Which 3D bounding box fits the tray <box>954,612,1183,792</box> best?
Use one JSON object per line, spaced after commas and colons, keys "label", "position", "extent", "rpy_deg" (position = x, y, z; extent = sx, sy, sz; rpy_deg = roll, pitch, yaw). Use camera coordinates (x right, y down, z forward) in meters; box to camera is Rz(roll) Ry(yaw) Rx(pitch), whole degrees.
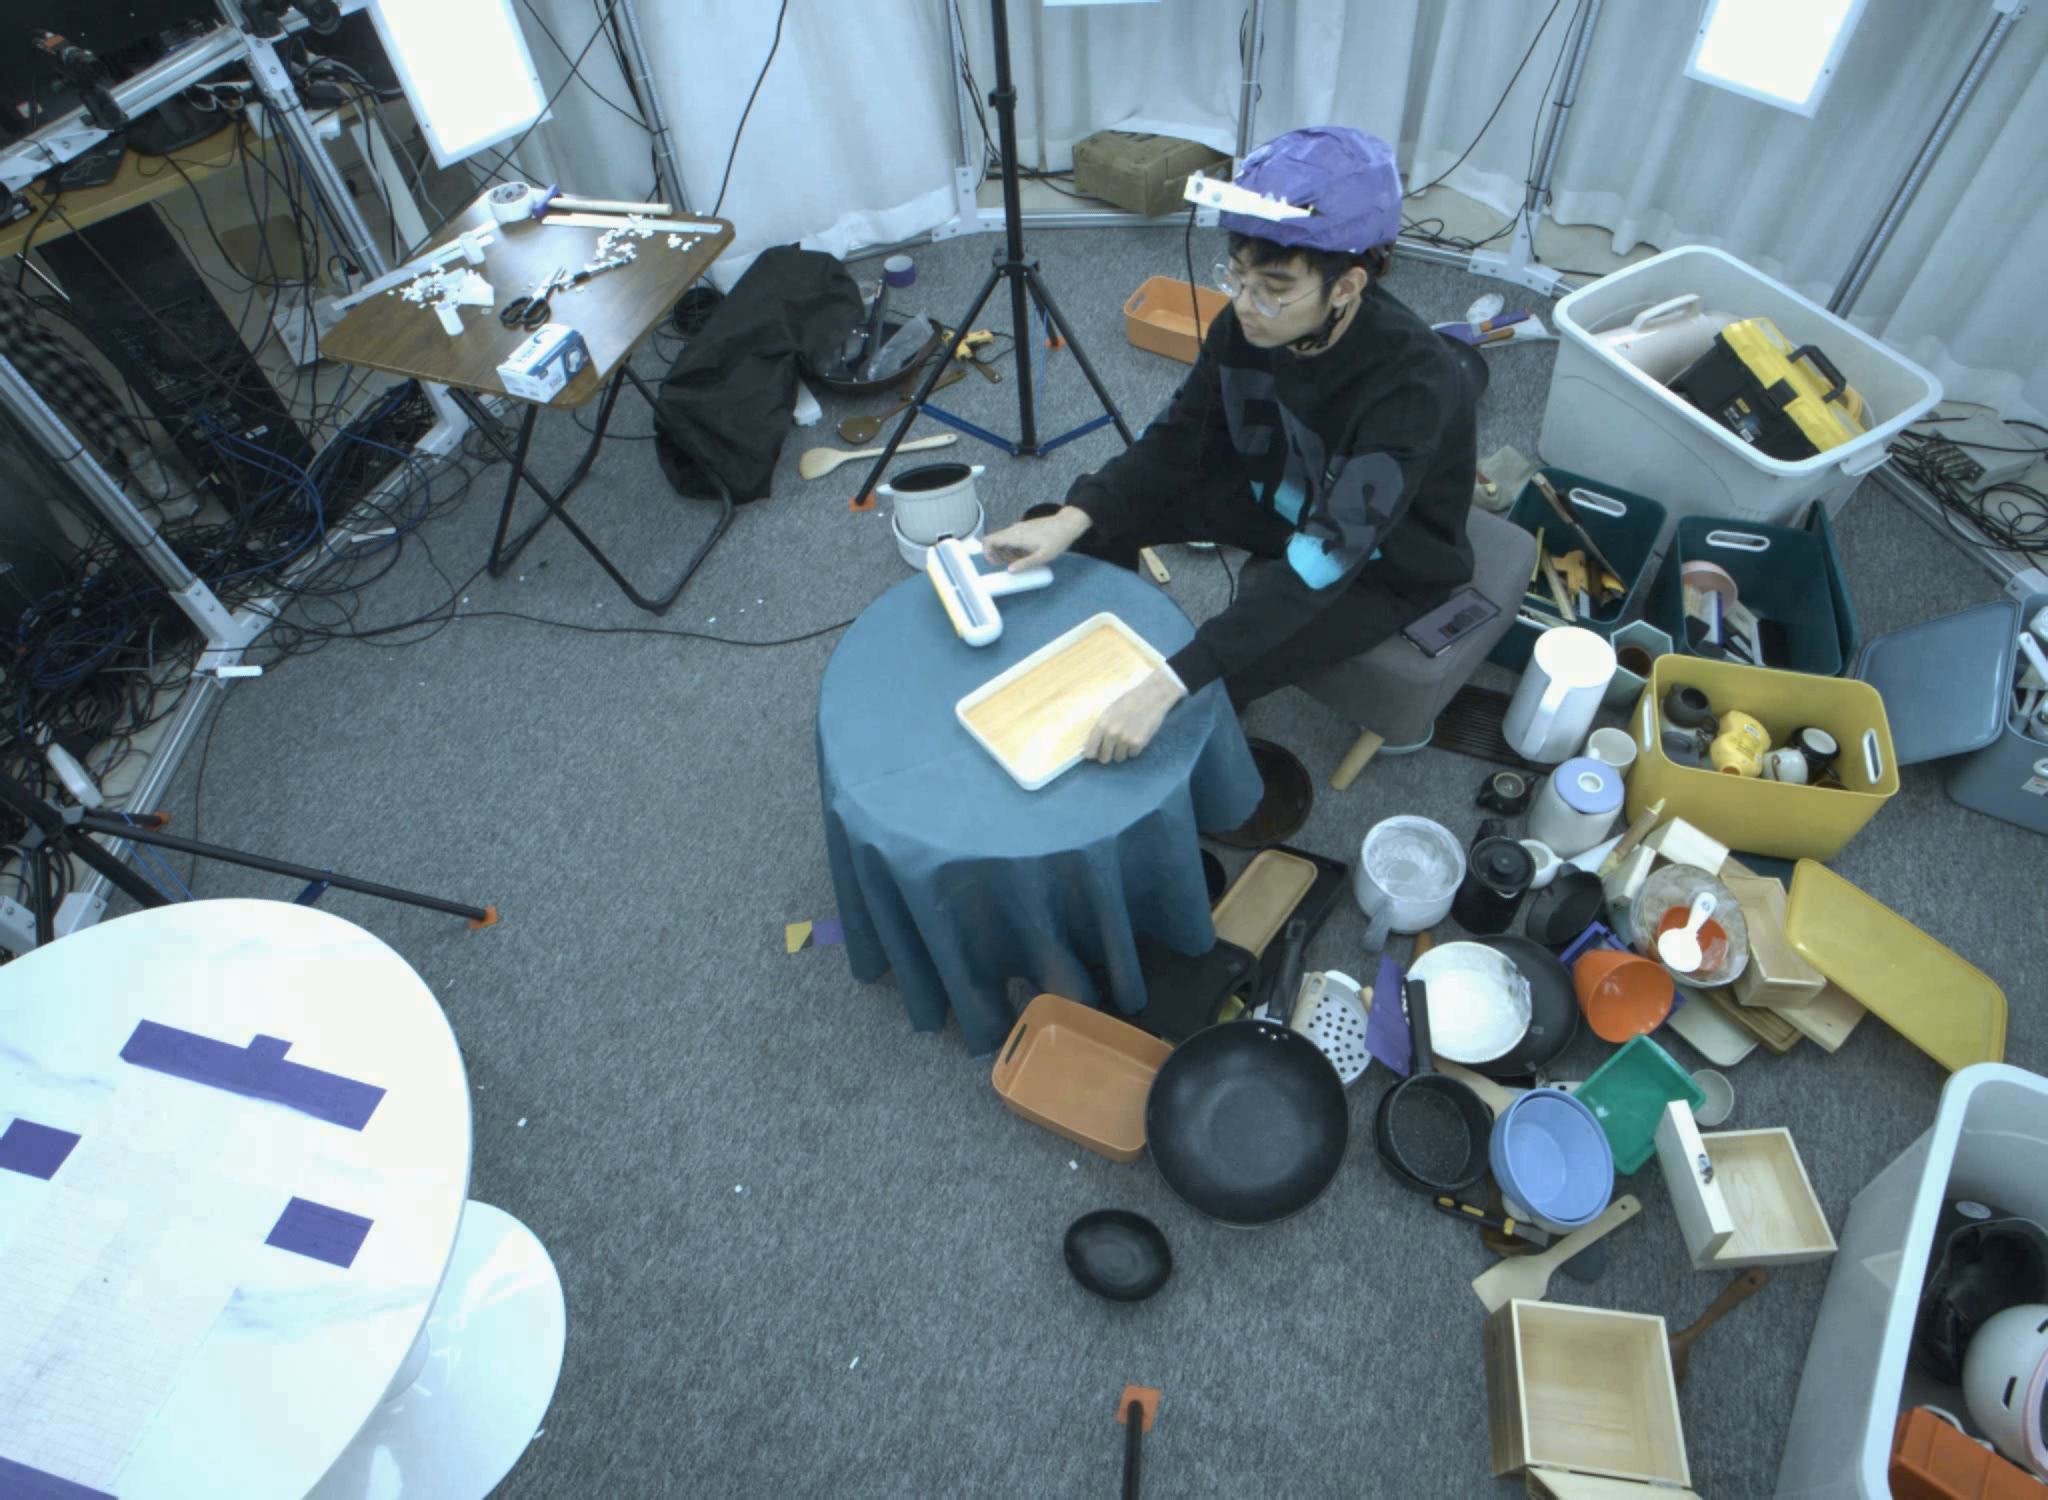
{"label": "tray", "position": [0.067, -0.077, 1.818], "extent": [0.302, 0.028, 0.188], "rpy_deg": [-33, 60, -19]}

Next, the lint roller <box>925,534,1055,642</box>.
{"label": "lint roller", "position": [-0.043, -0.266, 1.932], "extent": [0.194, 0.075, 0.190], "rpy_deg": [-18, 61, -12]}
